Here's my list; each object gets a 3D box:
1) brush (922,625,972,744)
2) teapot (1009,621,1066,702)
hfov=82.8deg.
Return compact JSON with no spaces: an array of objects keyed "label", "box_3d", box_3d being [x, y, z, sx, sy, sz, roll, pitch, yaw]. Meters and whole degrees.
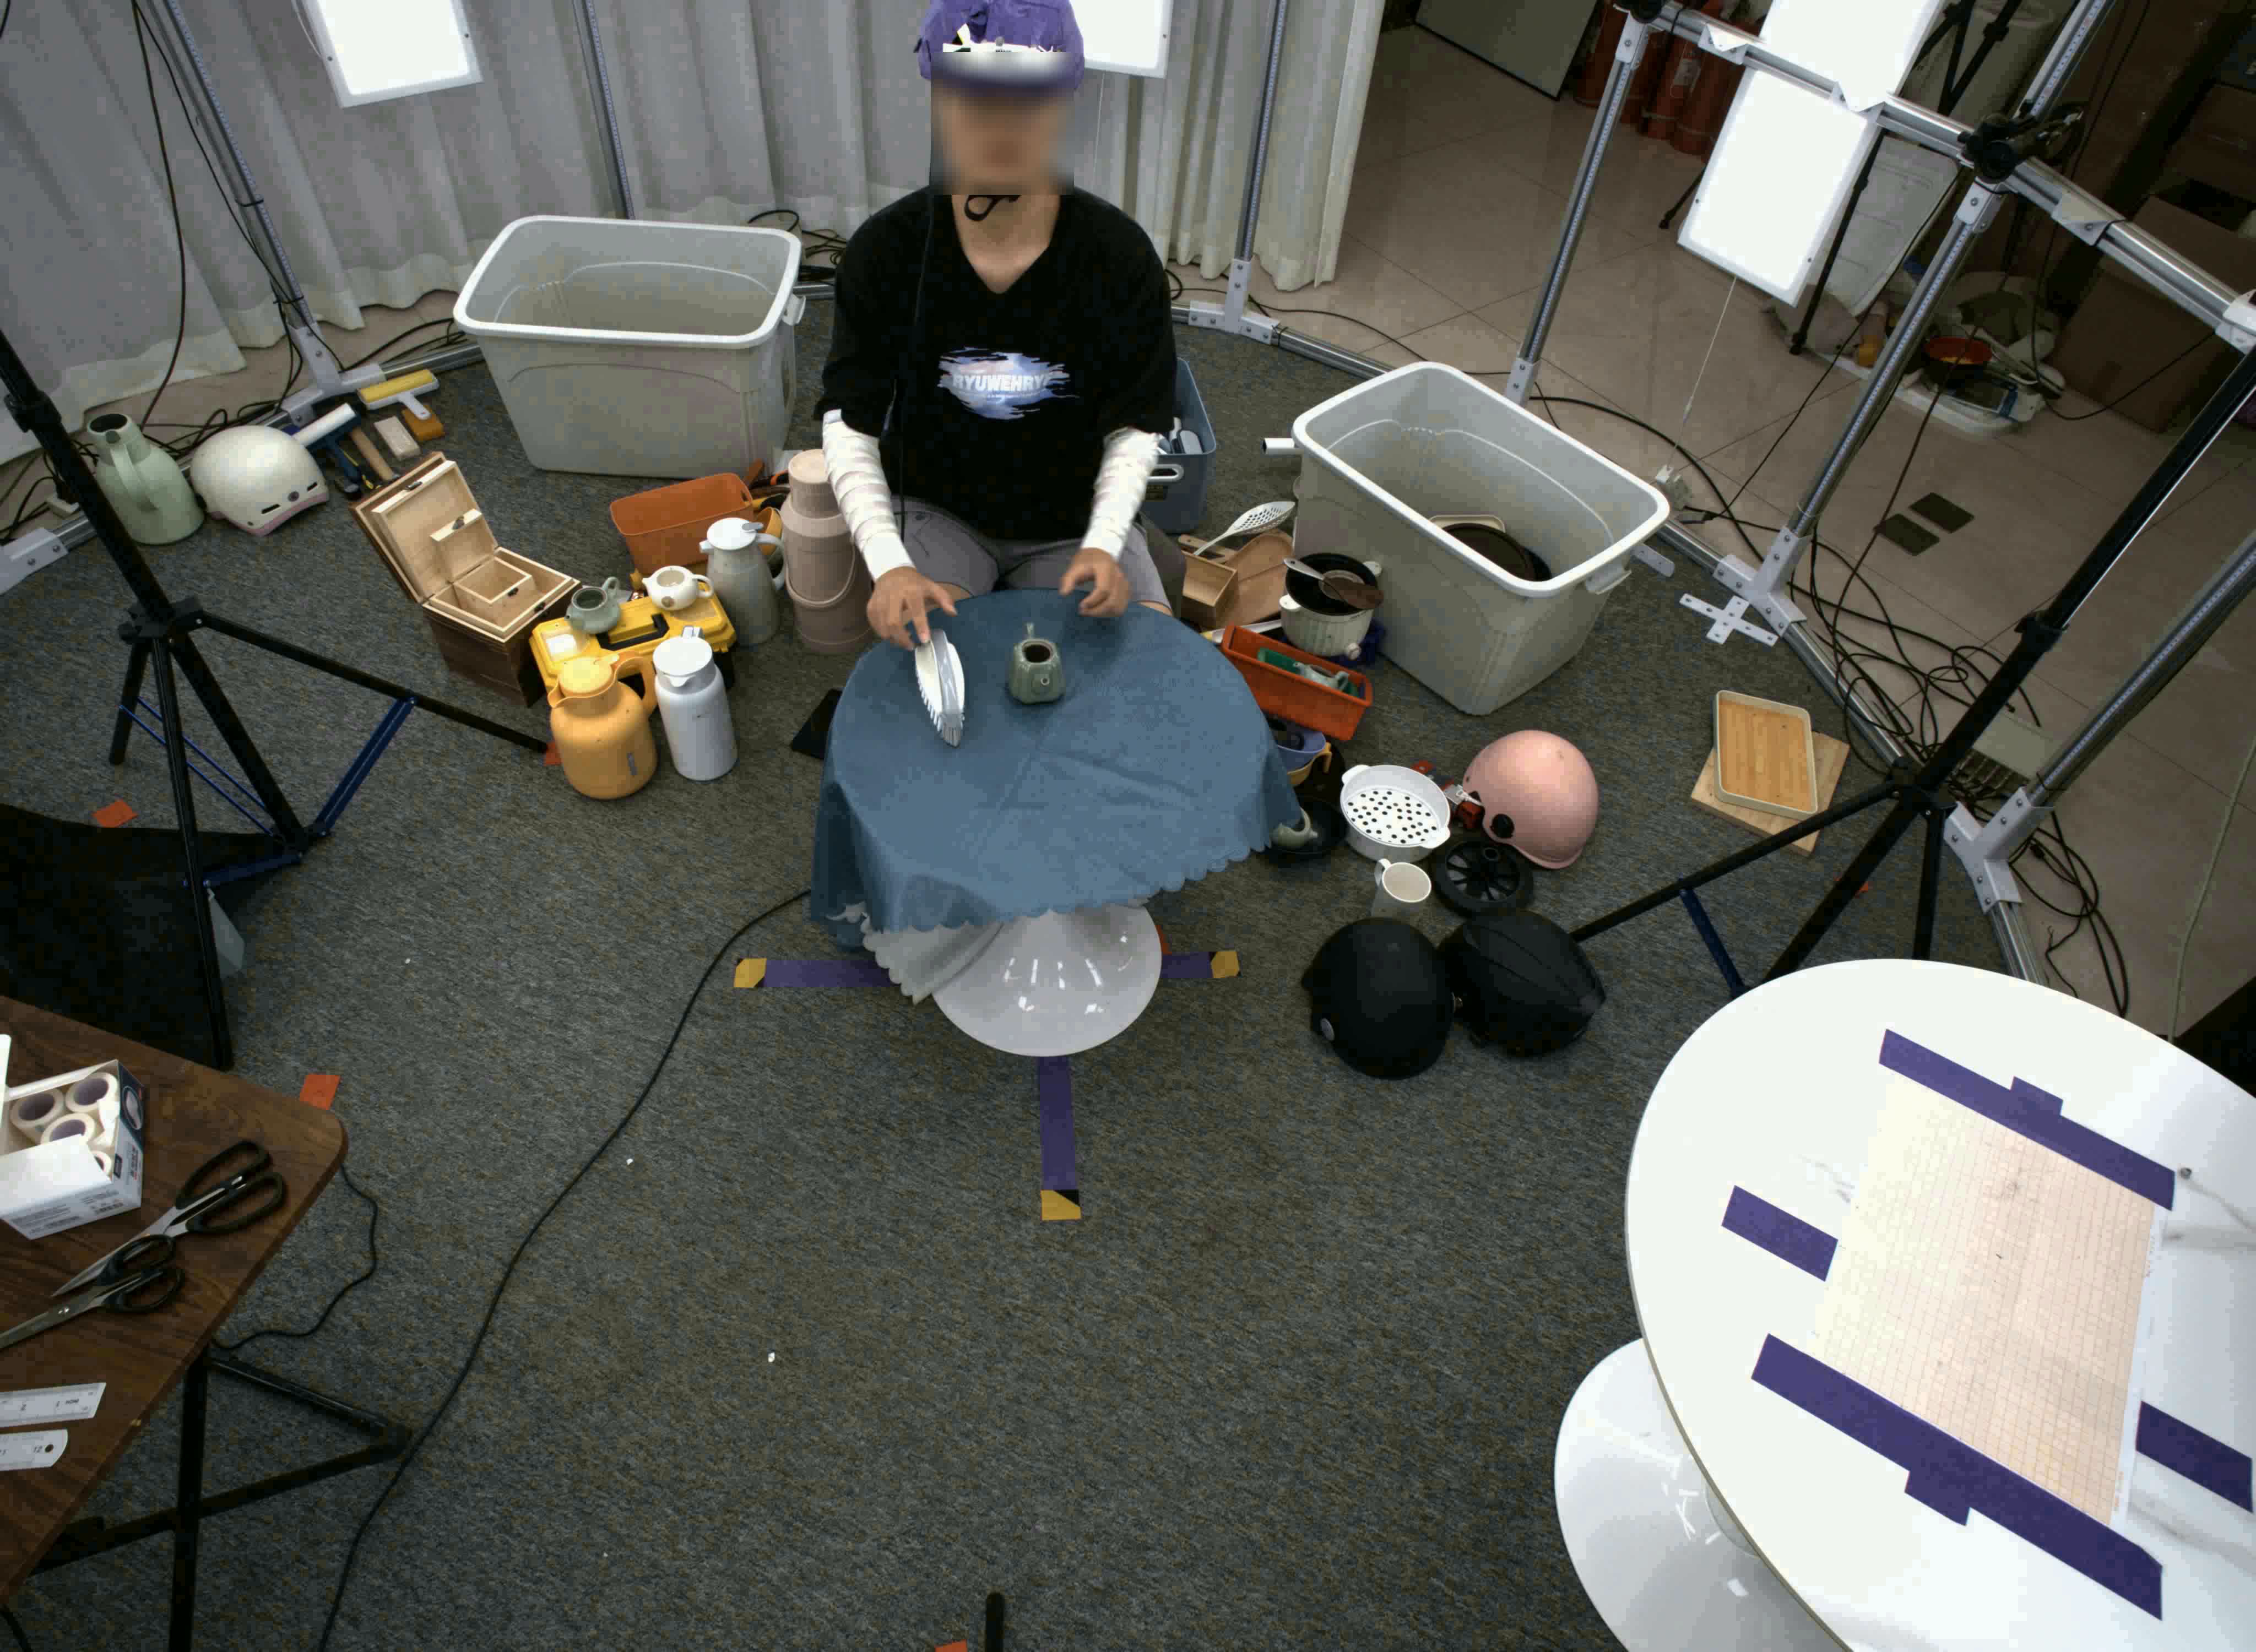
[{"label":"brush","box_3d":[-0.248,-0.204,1.775,0.061,0.092,0.180,-11,53,-7]},{"label":"teapot","box_3d":[-0.127,-0.224,1.811,0.079,0.073,0.136,-6,49,-10]}]
